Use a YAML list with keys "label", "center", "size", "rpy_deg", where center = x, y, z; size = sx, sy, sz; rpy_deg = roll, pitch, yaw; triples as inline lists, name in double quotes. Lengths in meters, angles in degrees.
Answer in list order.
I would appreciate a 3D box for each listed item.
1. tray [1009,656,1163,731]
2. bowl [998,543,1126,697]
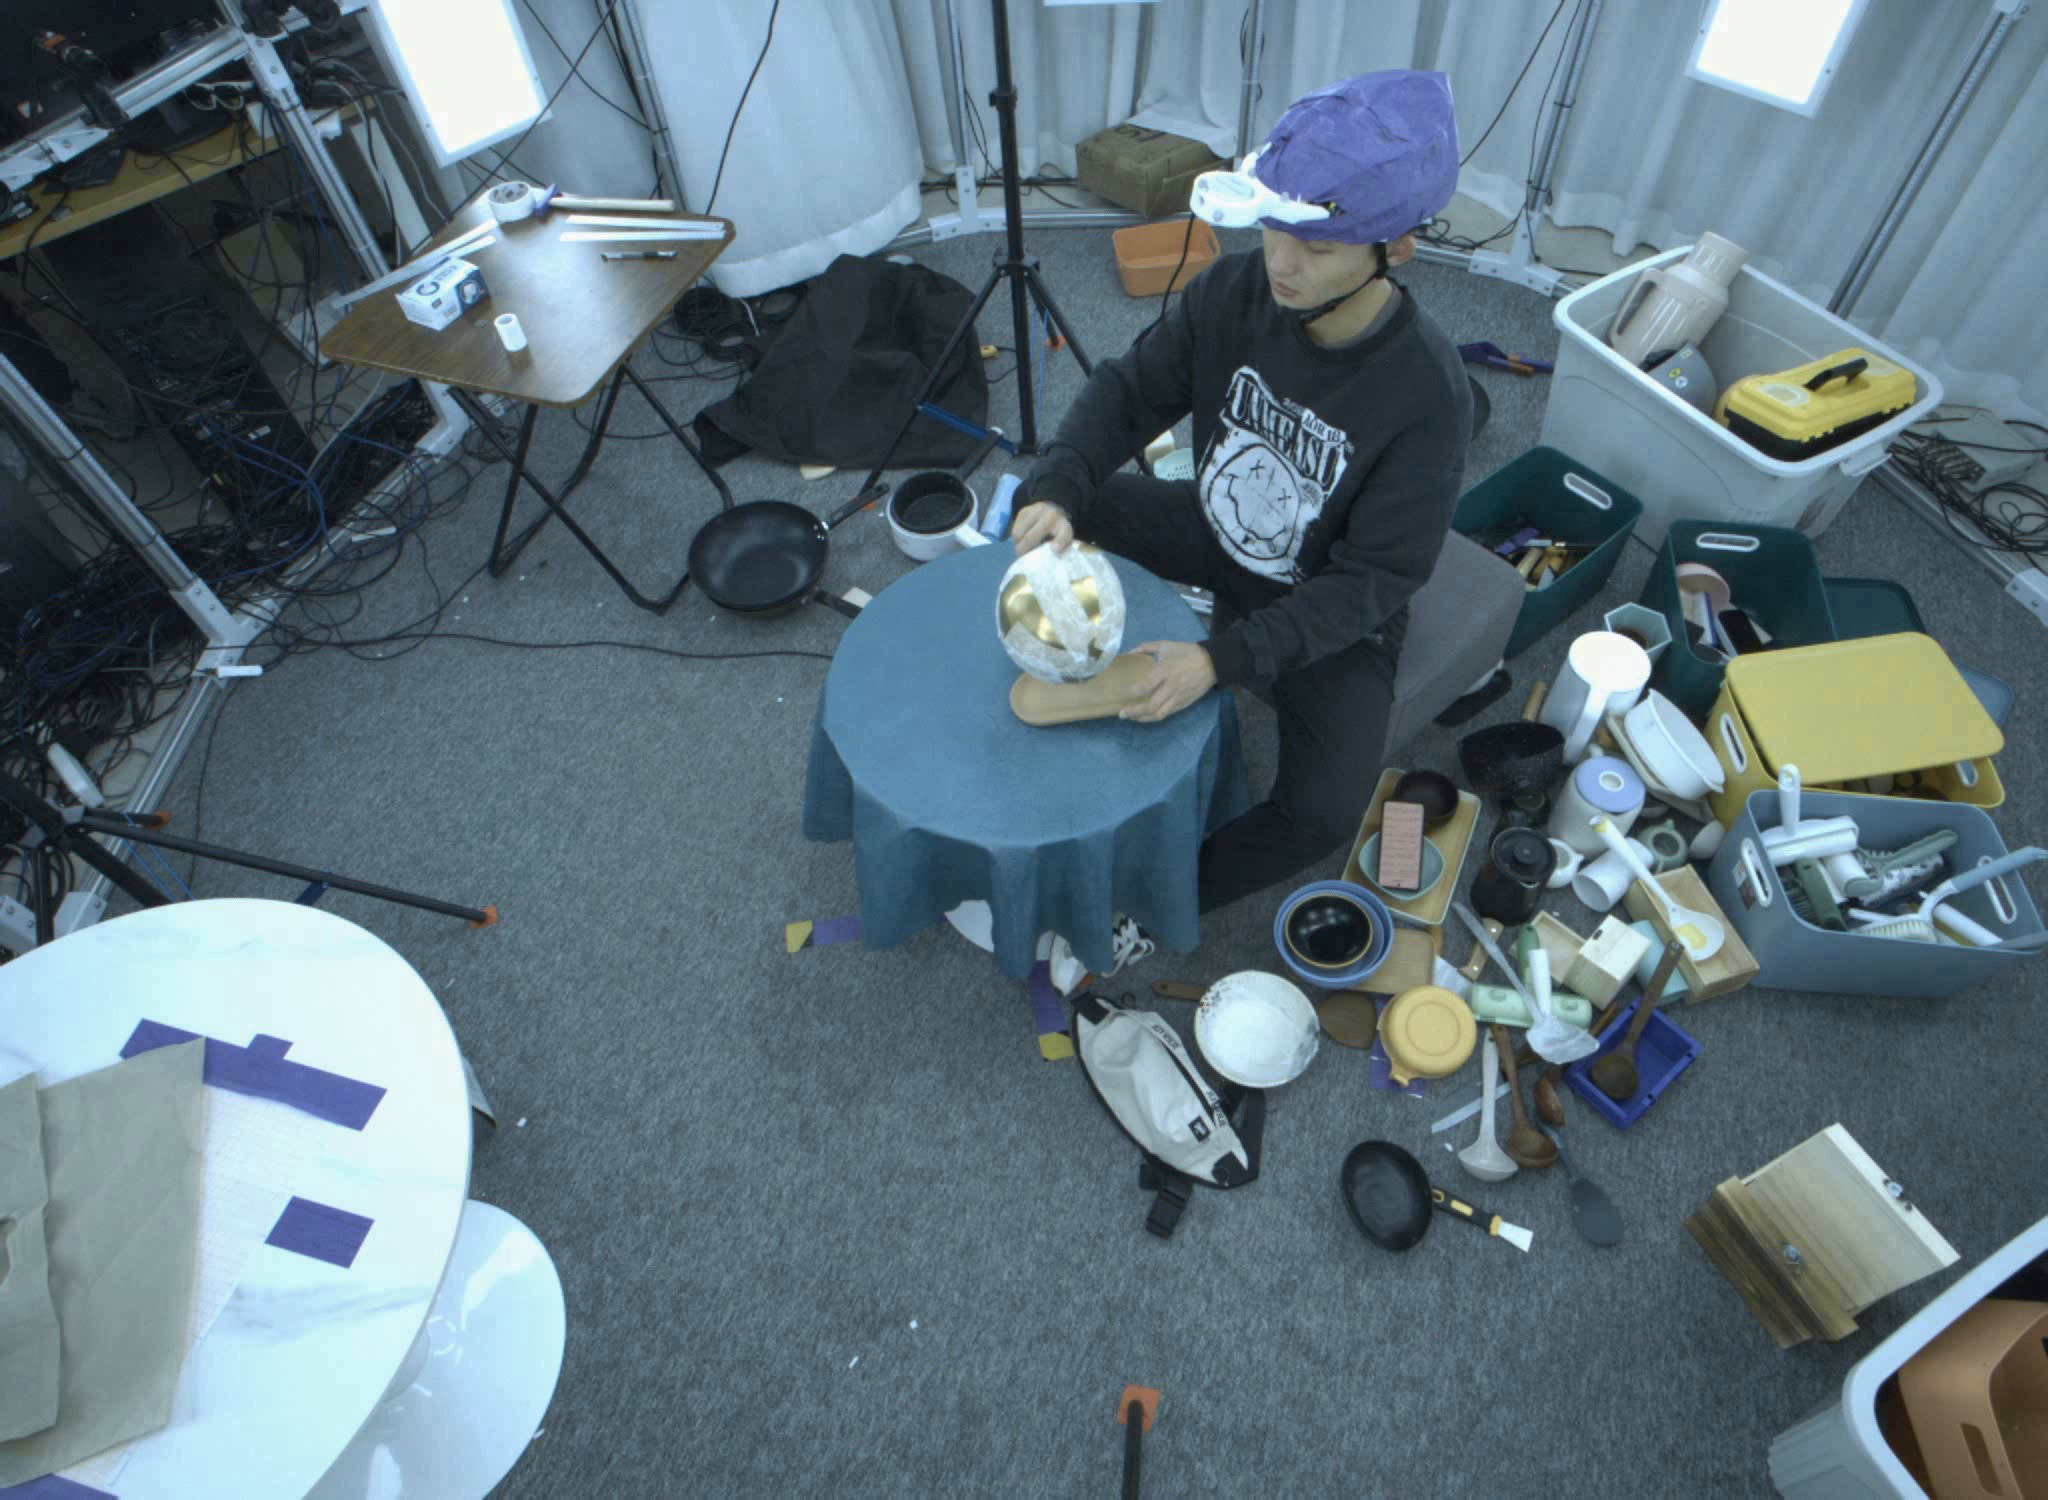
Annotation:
- label: "tray"
  center: [0.091, -0.083, 1.822]
  size: [0.230, 0.020, 0.100]
  rpy_deg: [-10, 56, 10]
- label: "bowl"
  center: [0.031, -0.176, 1.673]
  size: [0.096, 0.214, 0.211]
  rpy_deg: [-12, 48, -46]
